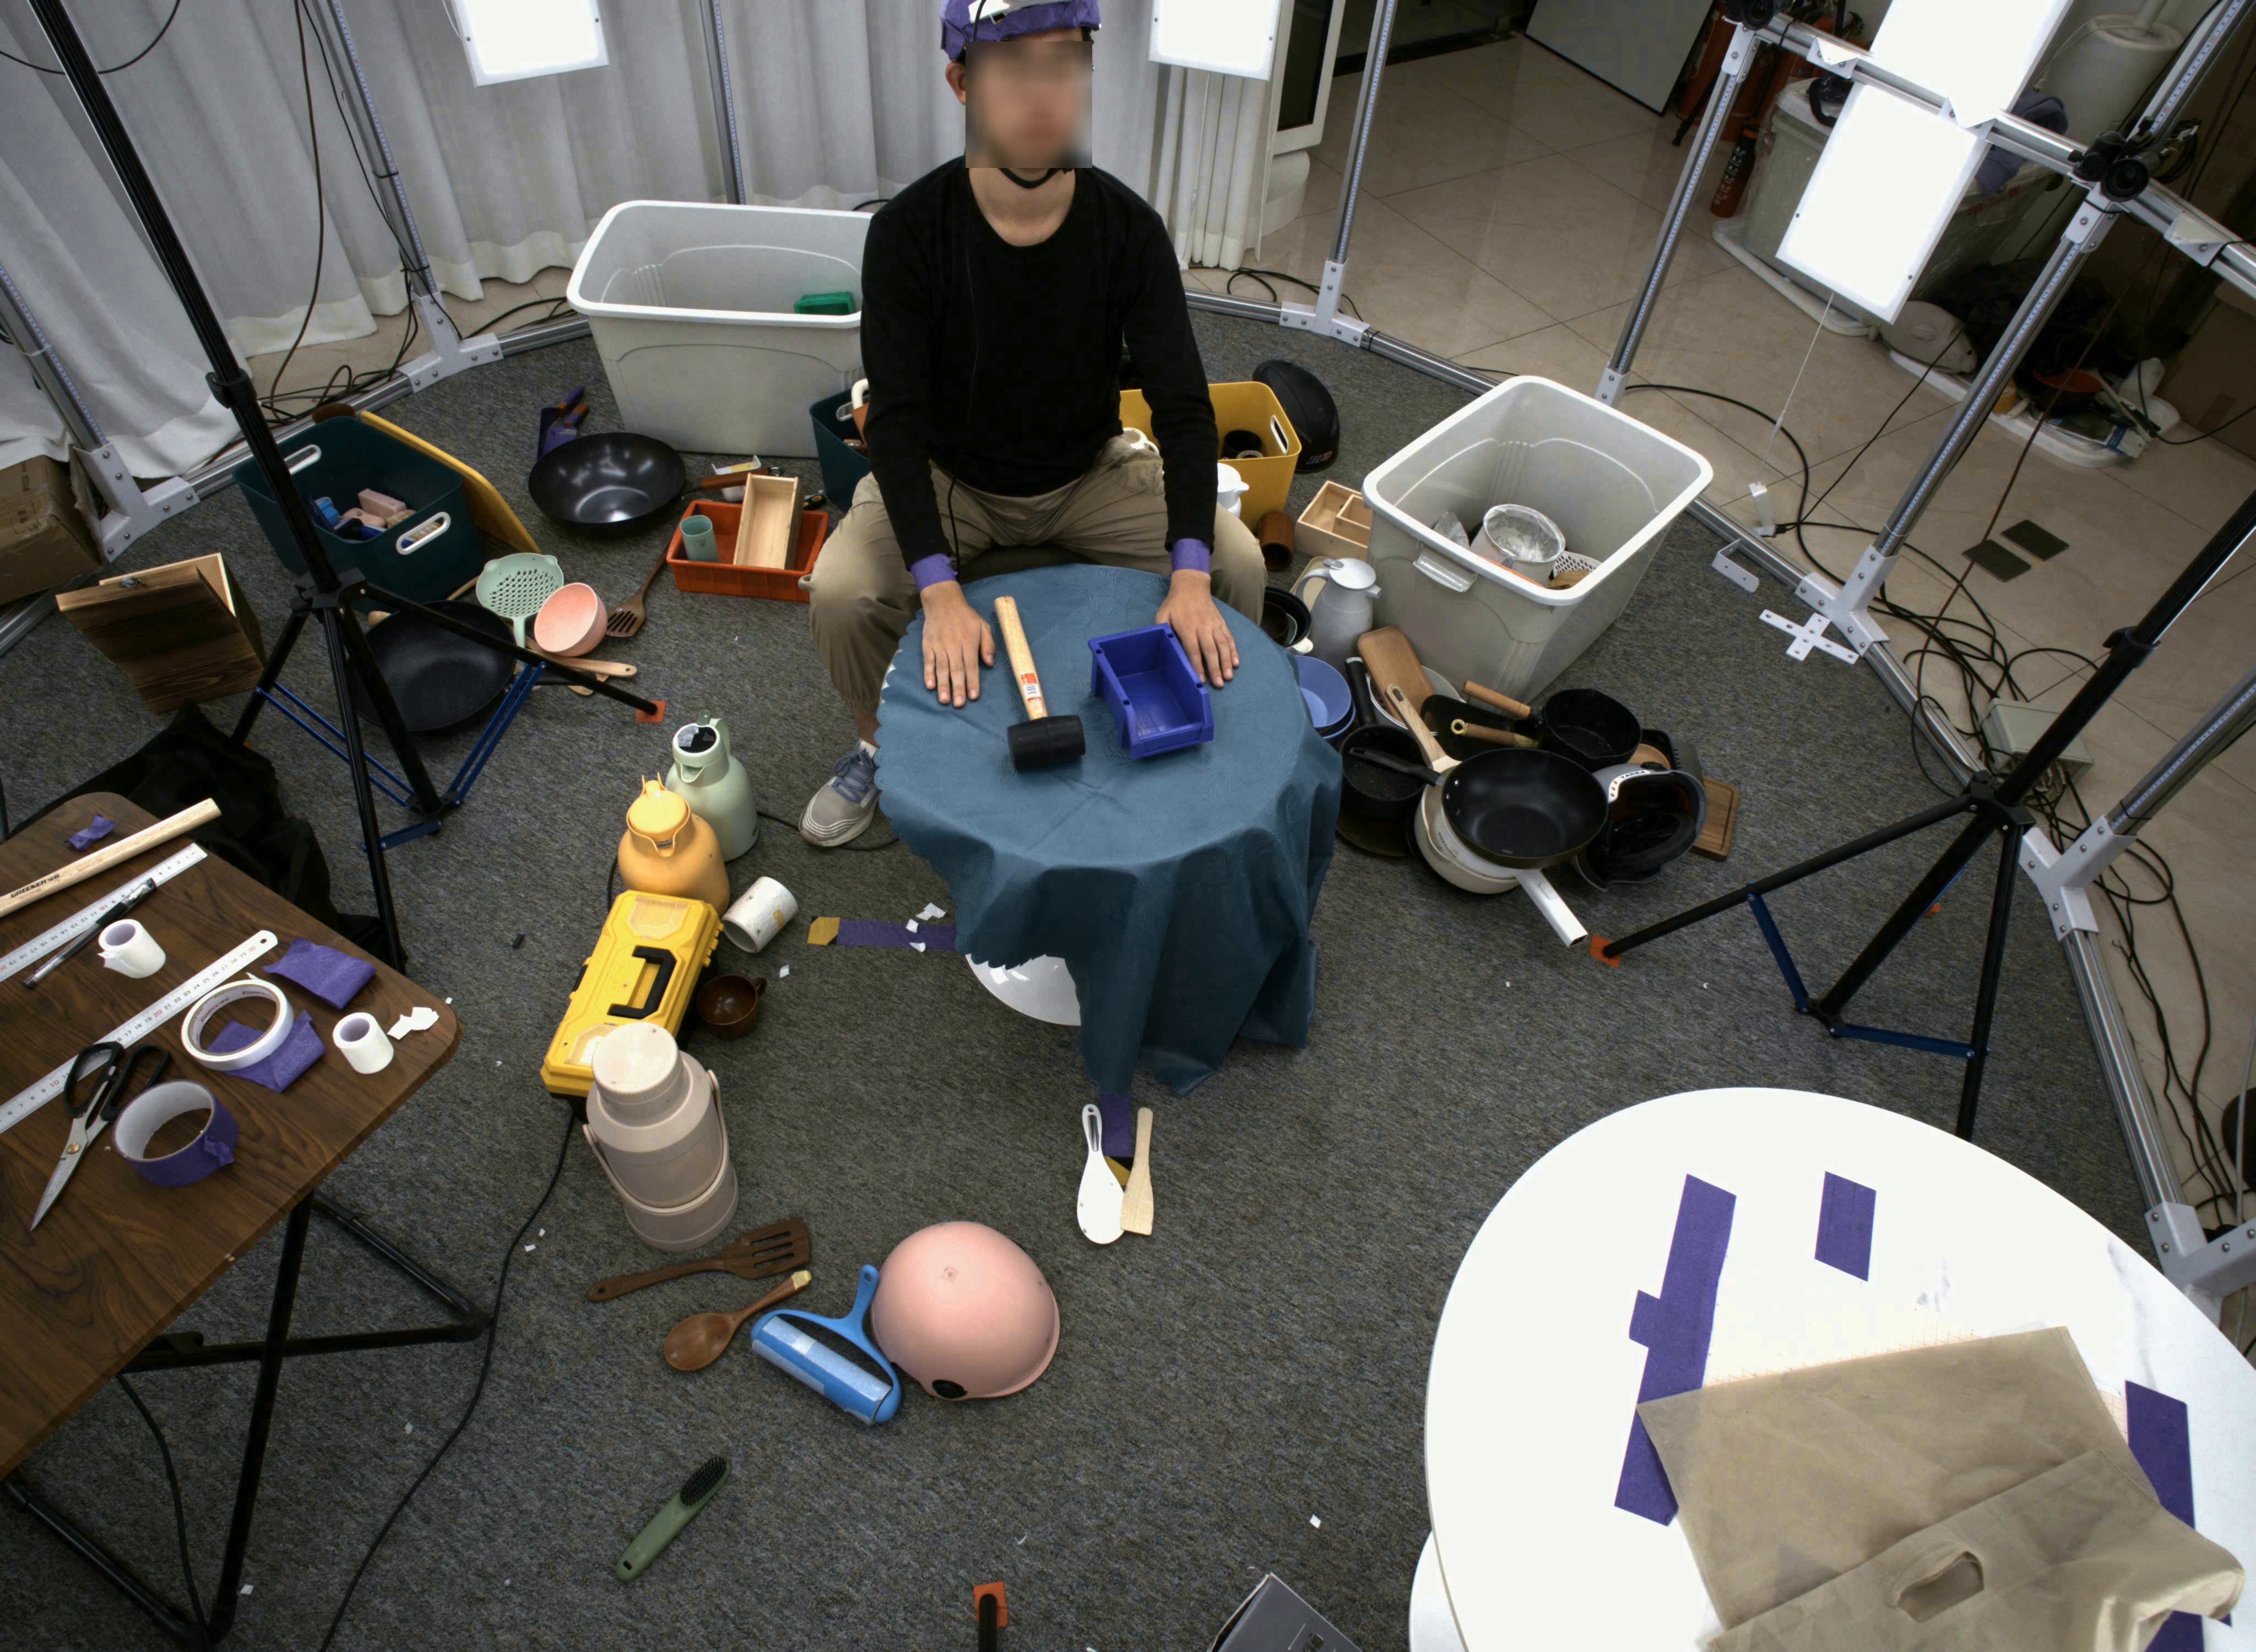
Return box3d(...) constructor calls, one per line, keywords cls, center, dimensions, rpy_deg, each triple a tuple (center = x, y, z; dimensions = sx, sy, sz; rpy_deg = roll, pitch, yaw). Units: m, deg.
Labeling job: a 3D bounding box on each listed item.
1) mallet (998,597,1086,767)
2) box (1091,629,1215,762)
box3d(cls="mallet", center=(-0.142, -0.217, 1.810), dimensions=(0.102, 0.063, 0.347), rpy_deg=(-7, 49, -11))
box3d(cls="box", center=(0.036, -0.178, 1.773), dimensions=(0.124, 0.080, 0.184), rpy_deg=(-13, 48, -14))
